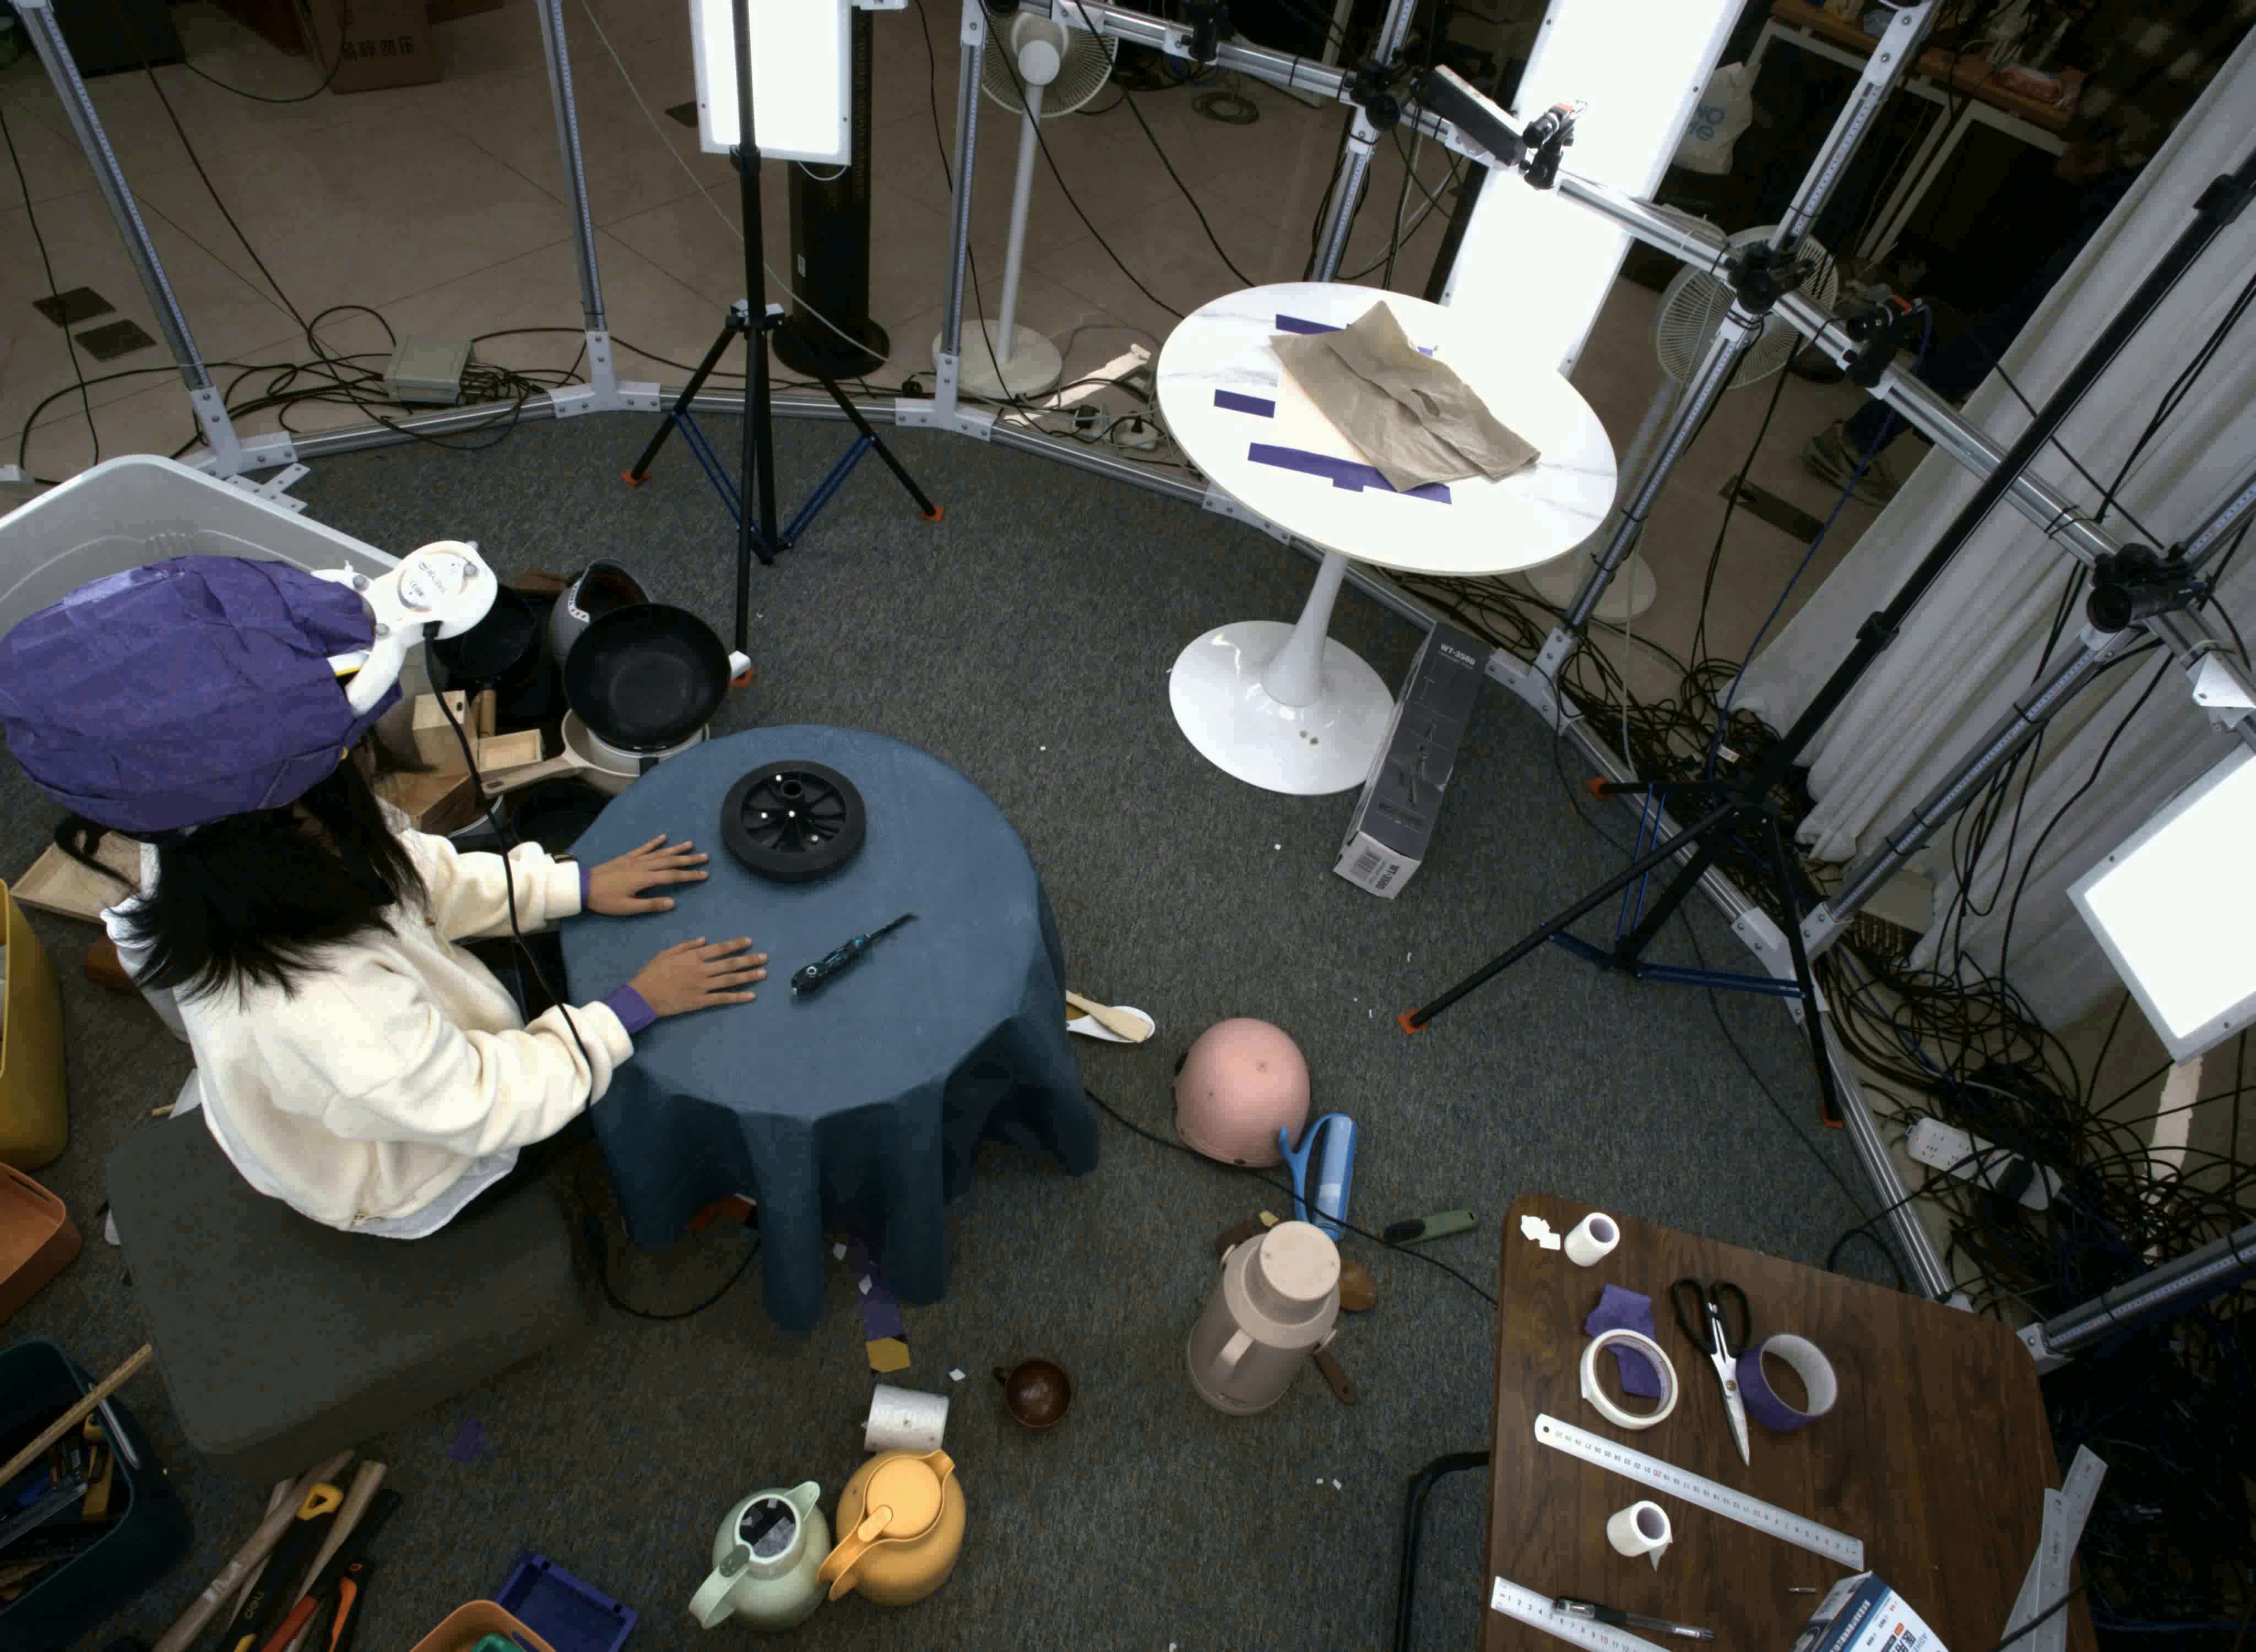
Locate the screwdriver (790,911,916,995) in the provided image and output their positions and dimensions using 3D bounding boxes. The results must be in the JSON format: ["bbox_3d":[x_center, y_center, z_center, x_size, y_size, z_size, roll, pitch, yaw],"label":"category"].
[{"bbox_3d":[-0.337,0.152,1.615,0.033,0.034,0.191,41,49,19],"label":"screwdriver"}]

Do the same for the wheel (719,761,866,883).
[{"bbox_3d":[-0.436,-0.022,1.684,0.191,0.080,0.183,-4,55,-20],"label":"wheel"}]
